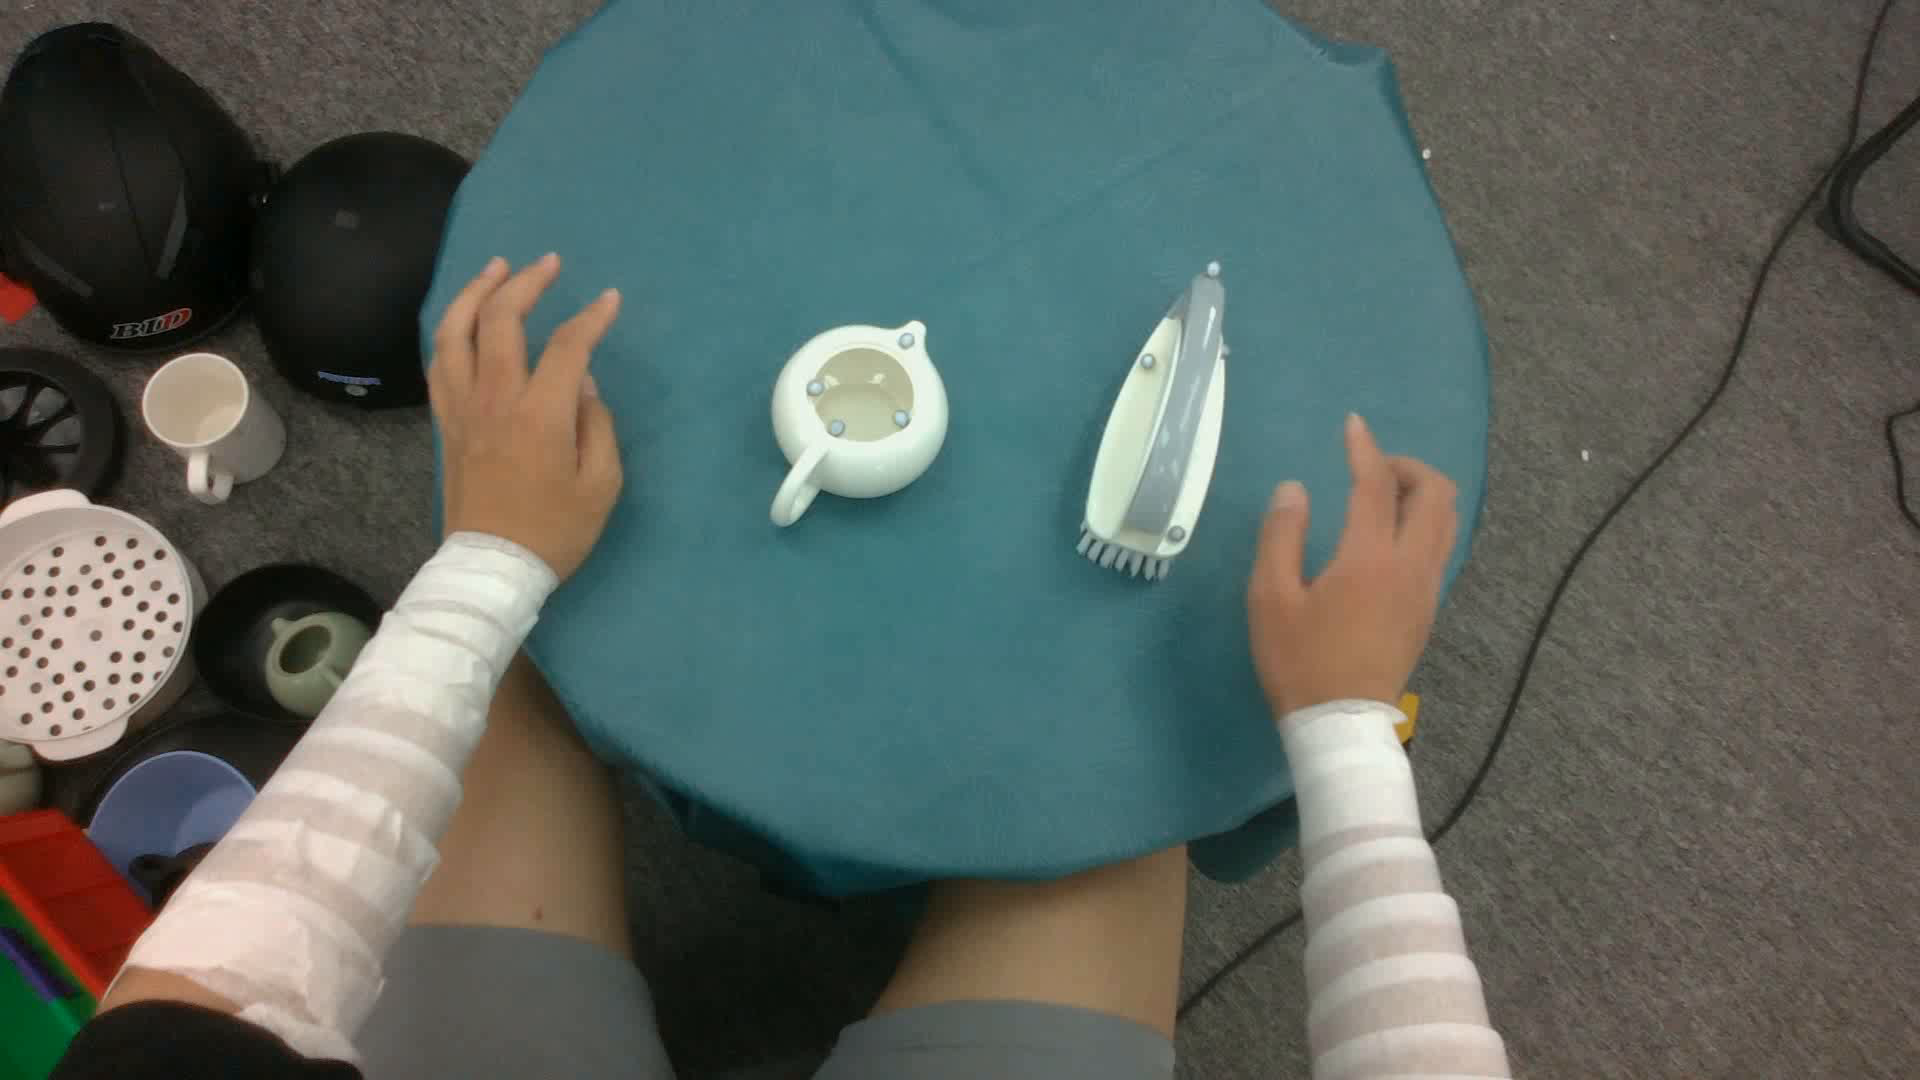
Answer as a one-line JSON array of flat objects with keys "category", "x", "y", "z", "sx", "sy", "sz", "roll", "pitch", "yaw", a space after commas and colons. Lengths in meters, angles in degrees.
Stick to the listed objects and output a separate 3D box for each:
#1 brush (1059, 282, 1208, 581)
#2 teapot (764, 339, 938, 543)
[{"category": "brush", "x": 0.106, "y": -0.073, "z": 0.746, "sx": 0.061, "sy": 0.094, "sz": 0.176, "roll": 18, "pitch": 69, "yaw": -3}, {"category": "teapot", "x": -0.064, "y": -0.051, "z": 0.738, "sx": 0.093, "sy": 0.056, "sz": 0.127, "roll": 31, "pitch": 72, "yaw": 0}]
